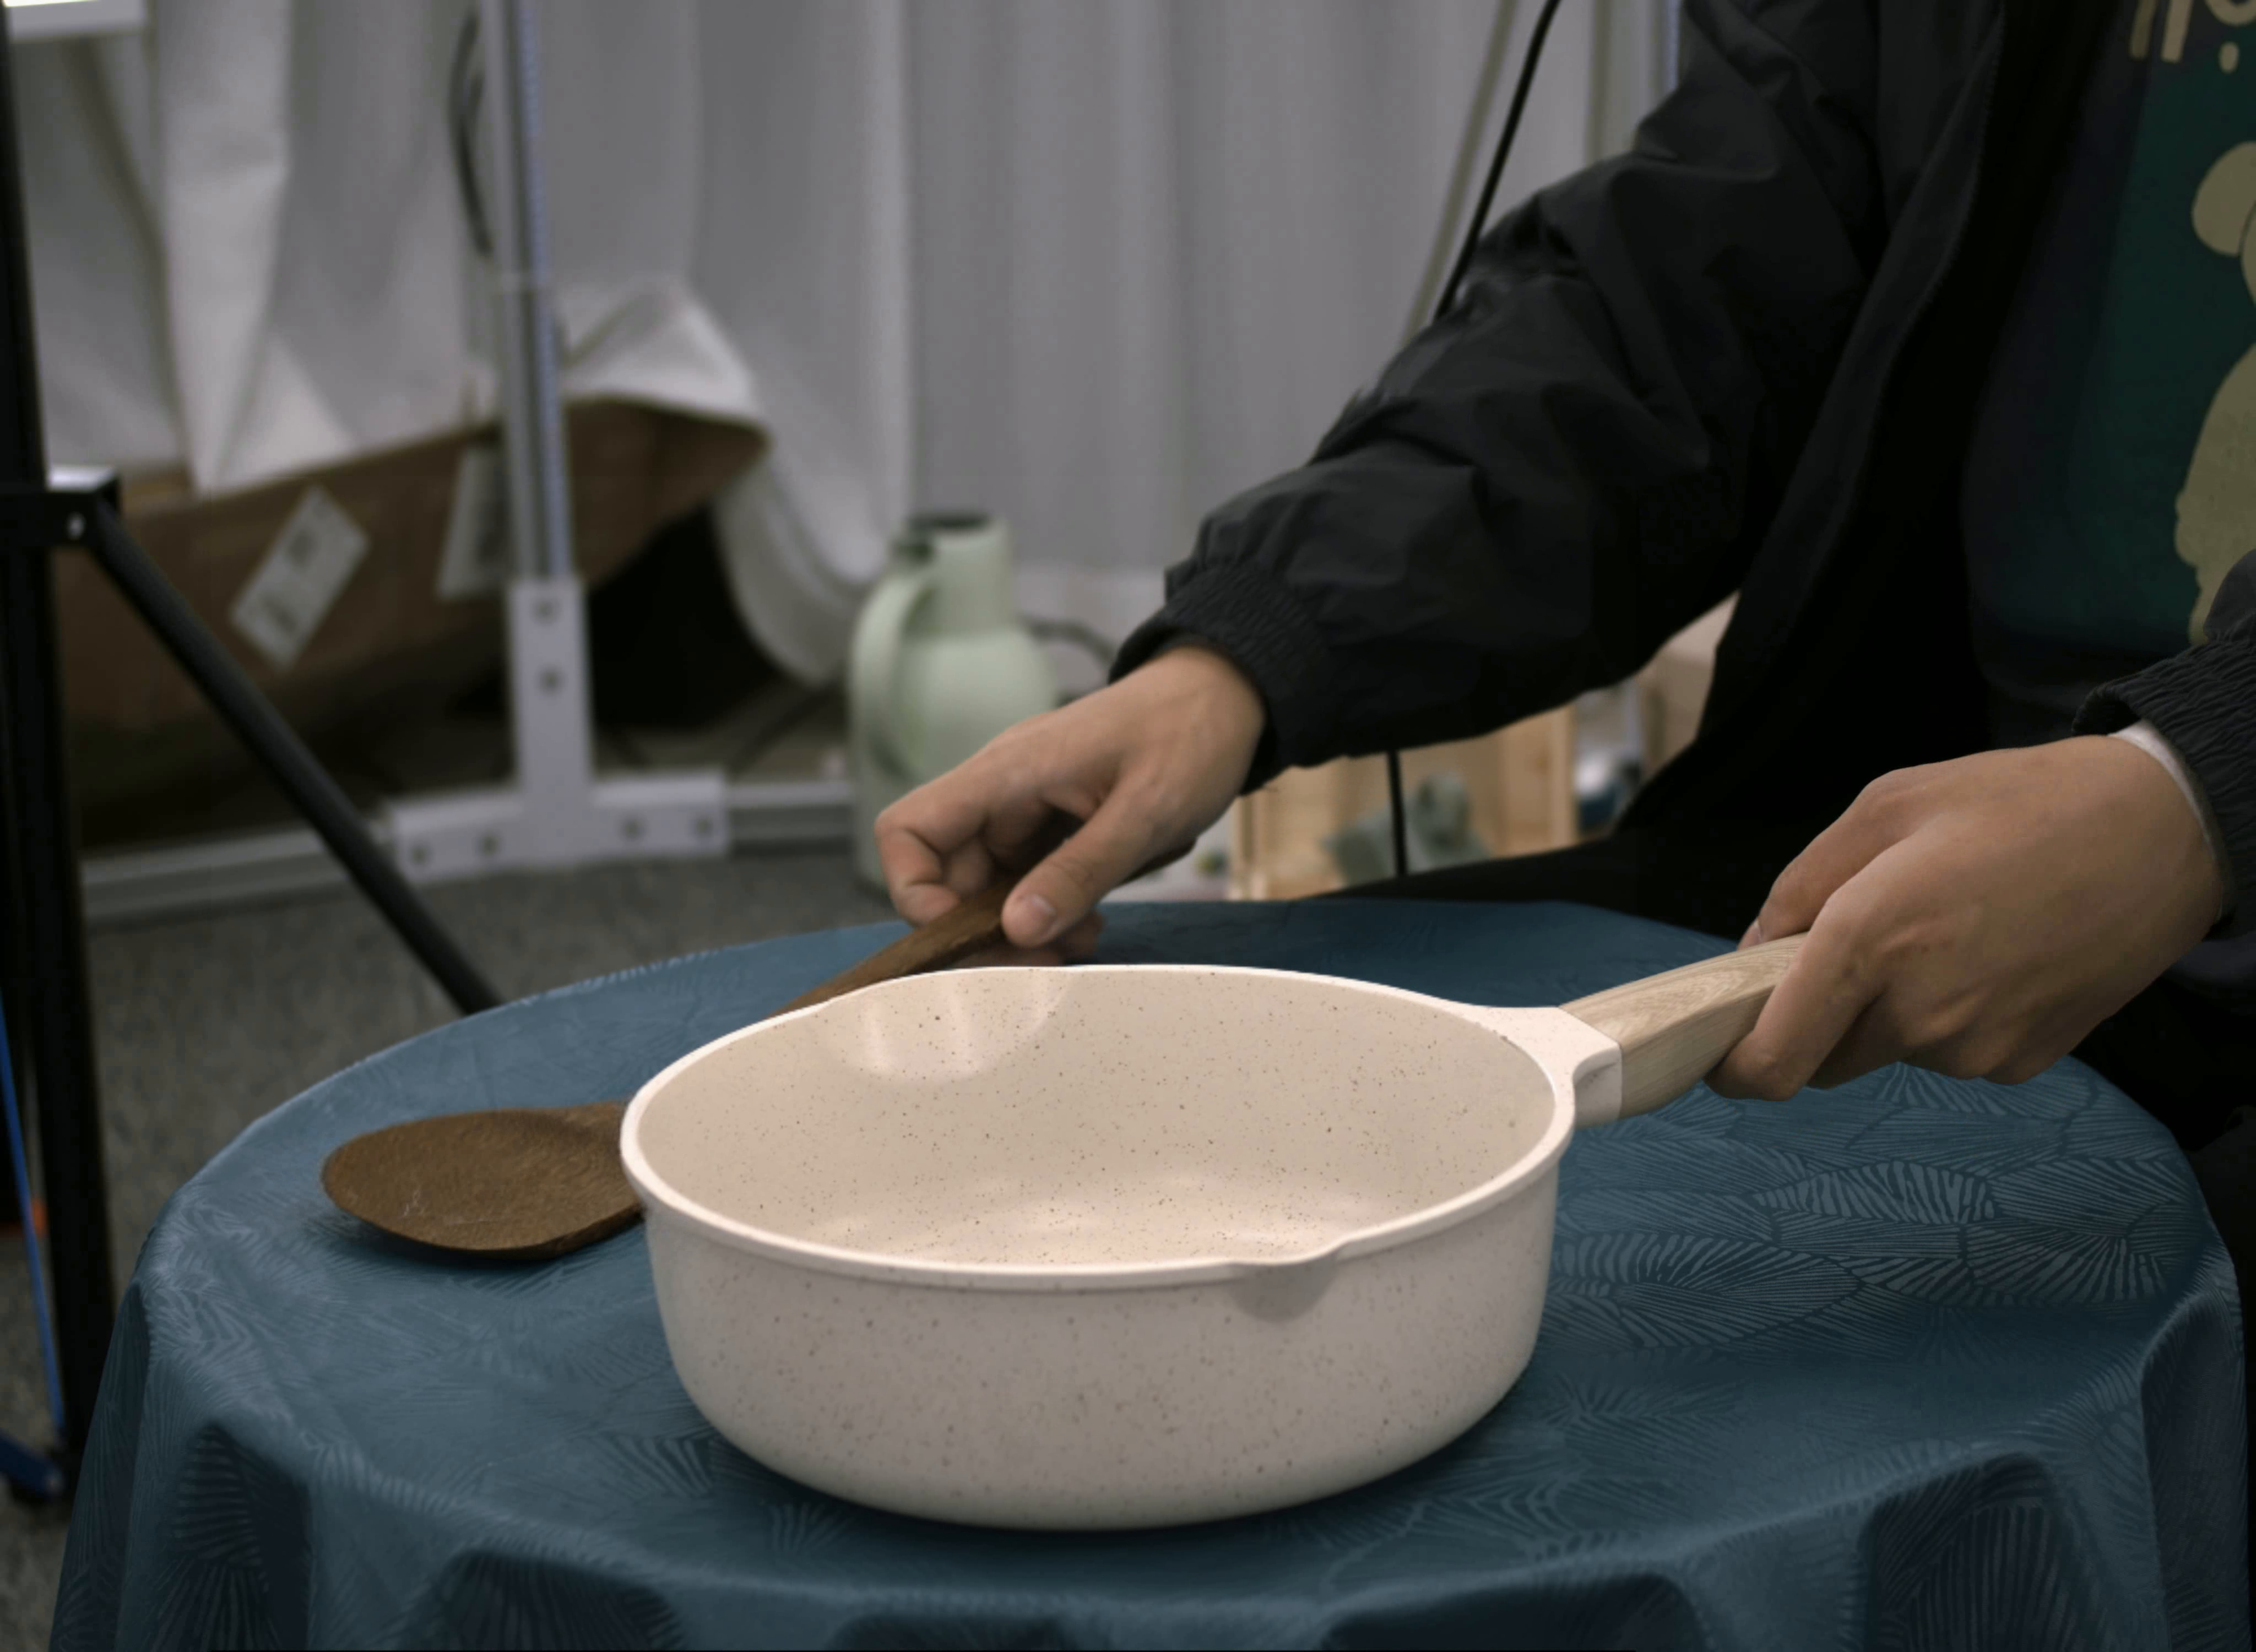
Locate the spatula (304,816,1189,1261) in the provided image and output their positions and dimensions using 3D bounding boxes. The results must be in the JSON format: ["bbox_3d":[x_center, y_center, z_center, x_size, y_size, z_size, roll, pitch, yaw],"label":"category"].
[{"bbox_3d":[-0.100,0.059,1.674,0.098,0.016,0.378,15,28,35],"label":"spatula"}]

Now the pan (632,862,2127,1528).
[{"bbox_3d":[0.082,0.091,1.418,0.427,0.102,0.268,-8,15,-19],"label":"pan"}]
